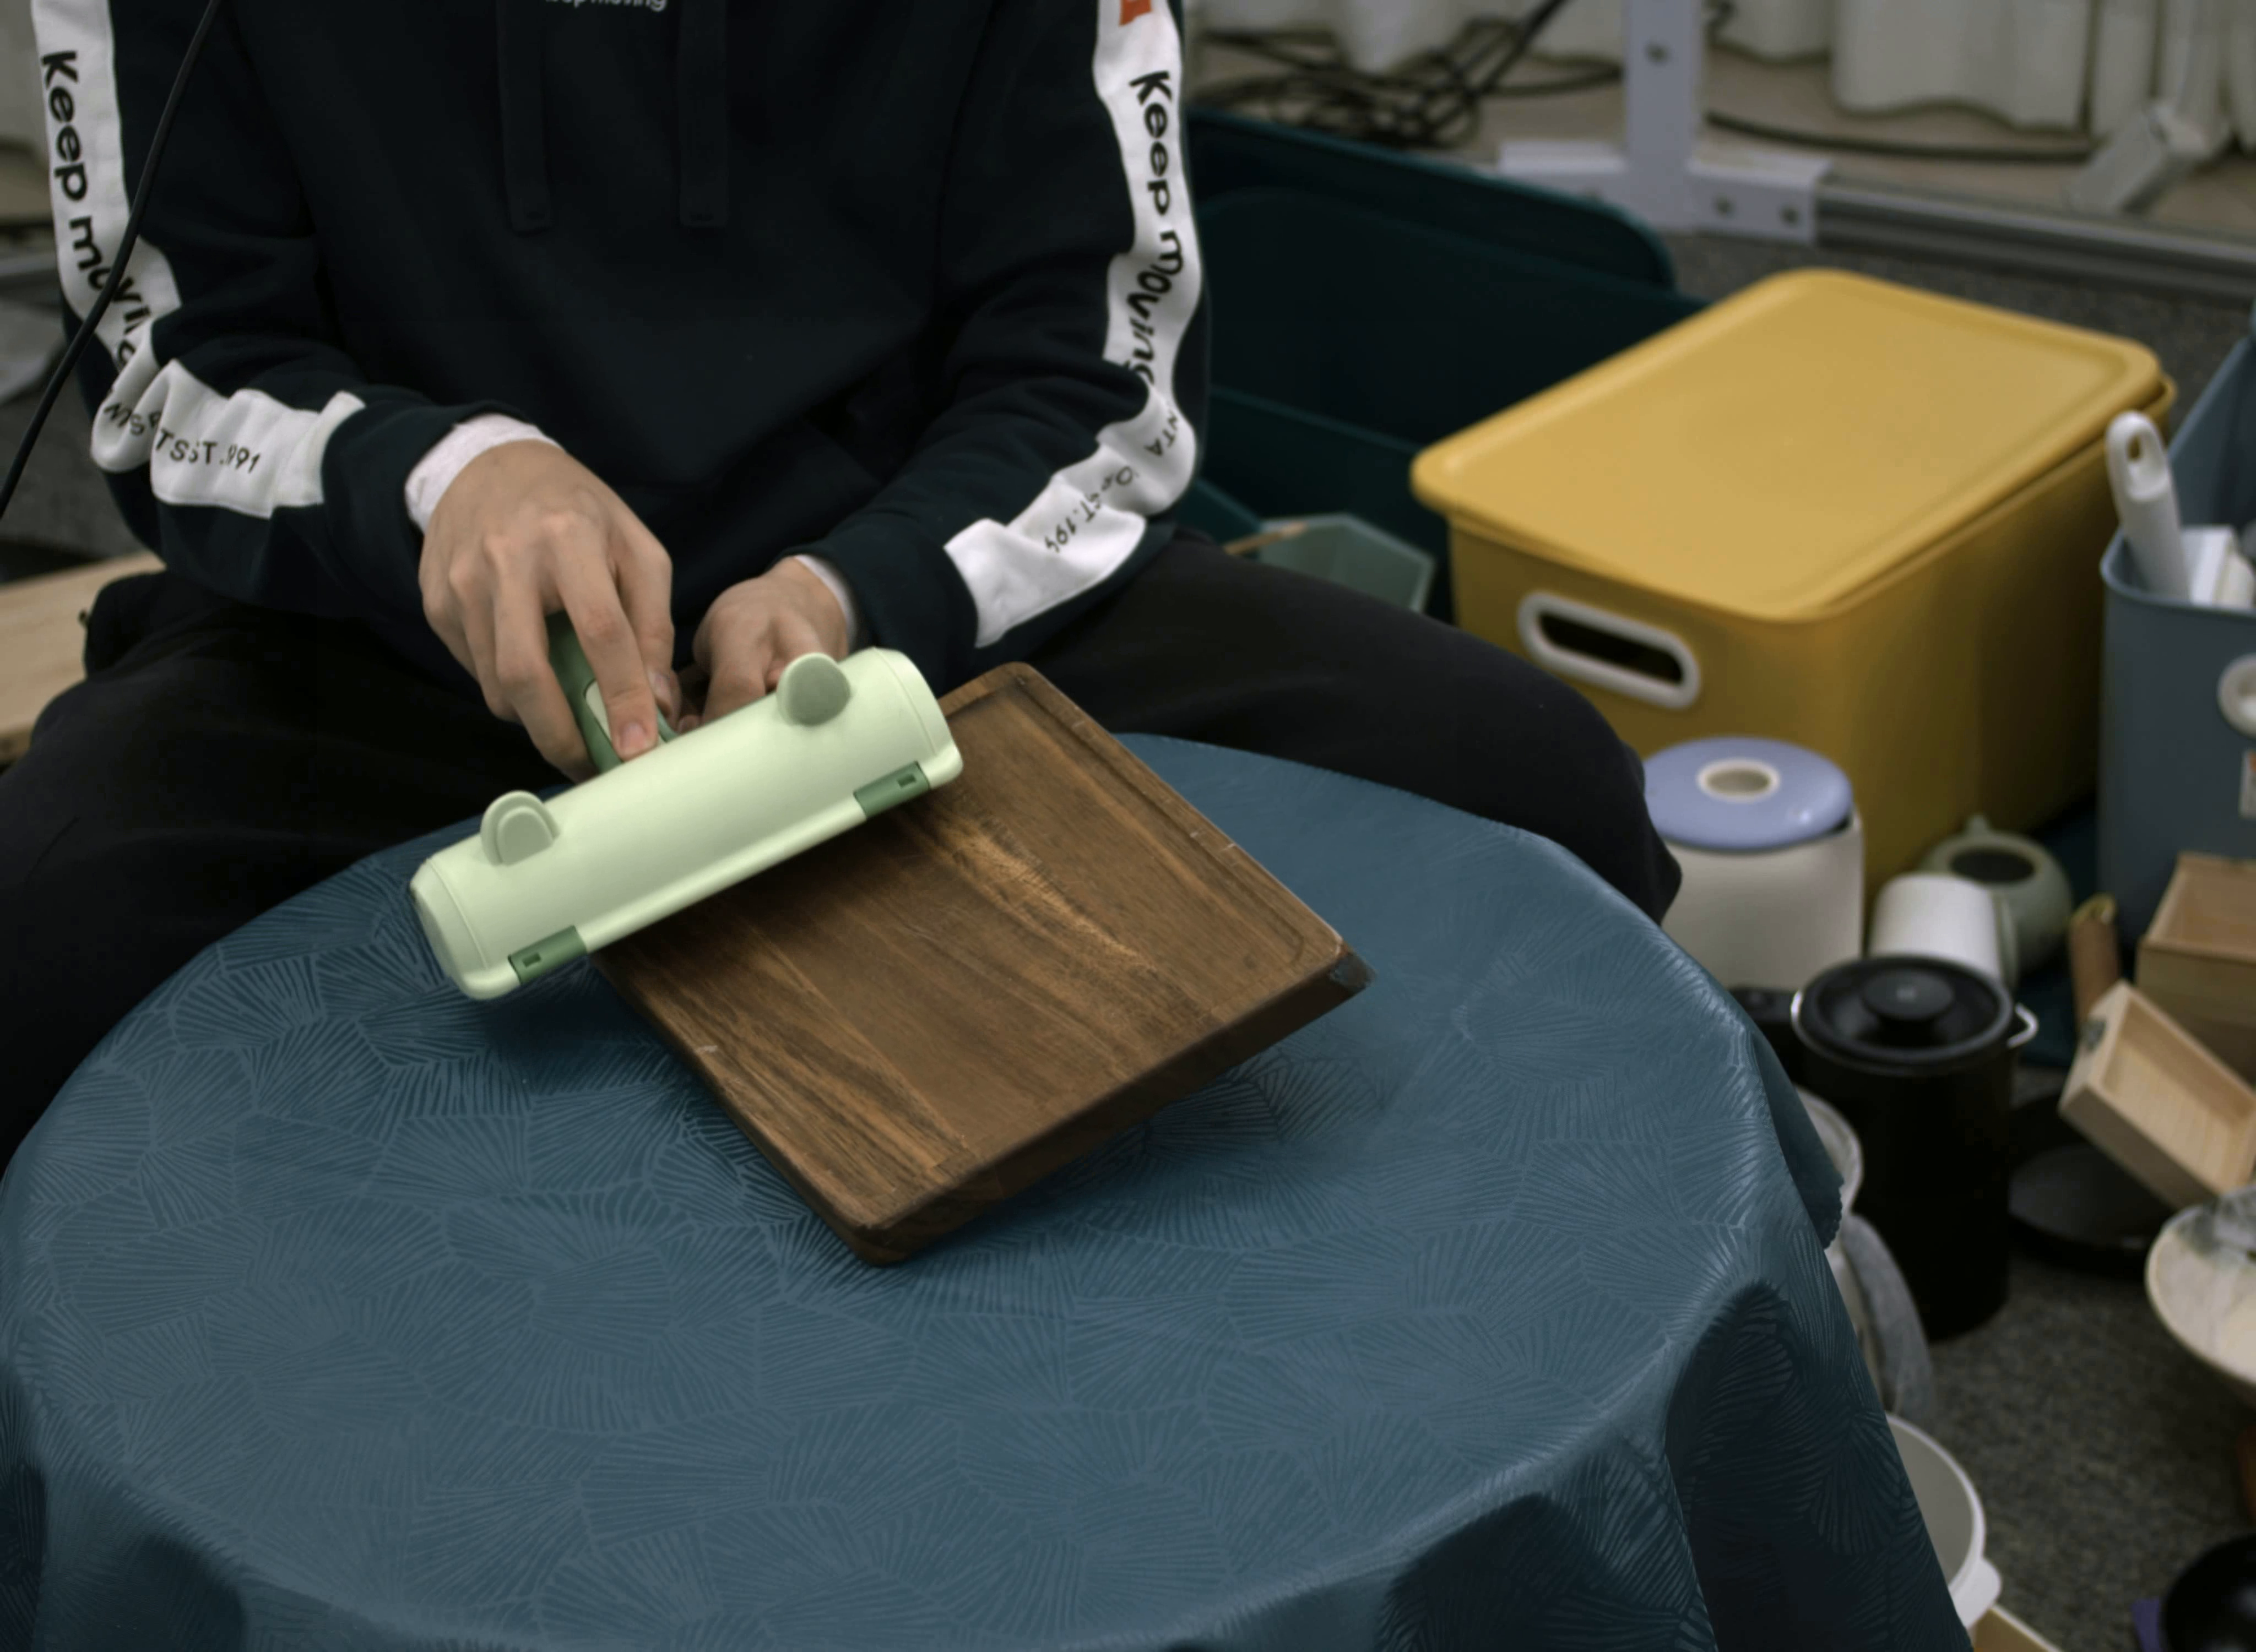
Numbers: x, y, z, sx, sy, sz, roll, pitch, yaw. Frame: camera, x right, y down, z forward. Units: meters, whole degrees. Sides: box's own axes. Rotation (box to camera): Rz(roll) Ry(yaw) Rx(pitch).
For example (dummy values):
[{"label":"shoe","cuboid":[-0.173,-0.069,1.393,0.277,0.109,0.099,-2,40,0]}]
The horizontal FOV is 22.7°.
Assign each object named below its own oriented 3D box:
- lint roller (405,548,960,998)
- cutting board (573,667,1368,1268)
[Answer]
[{"label":"lint roller","cuboid":[-0.184,-0.046,2.003,0.199,0.081,0.185,-26,61,-15]},{"label":"cutting board","cuboid":[-0.083,0.022,1.979,0.202,0.023,0.354,-29,36,-16]}]
